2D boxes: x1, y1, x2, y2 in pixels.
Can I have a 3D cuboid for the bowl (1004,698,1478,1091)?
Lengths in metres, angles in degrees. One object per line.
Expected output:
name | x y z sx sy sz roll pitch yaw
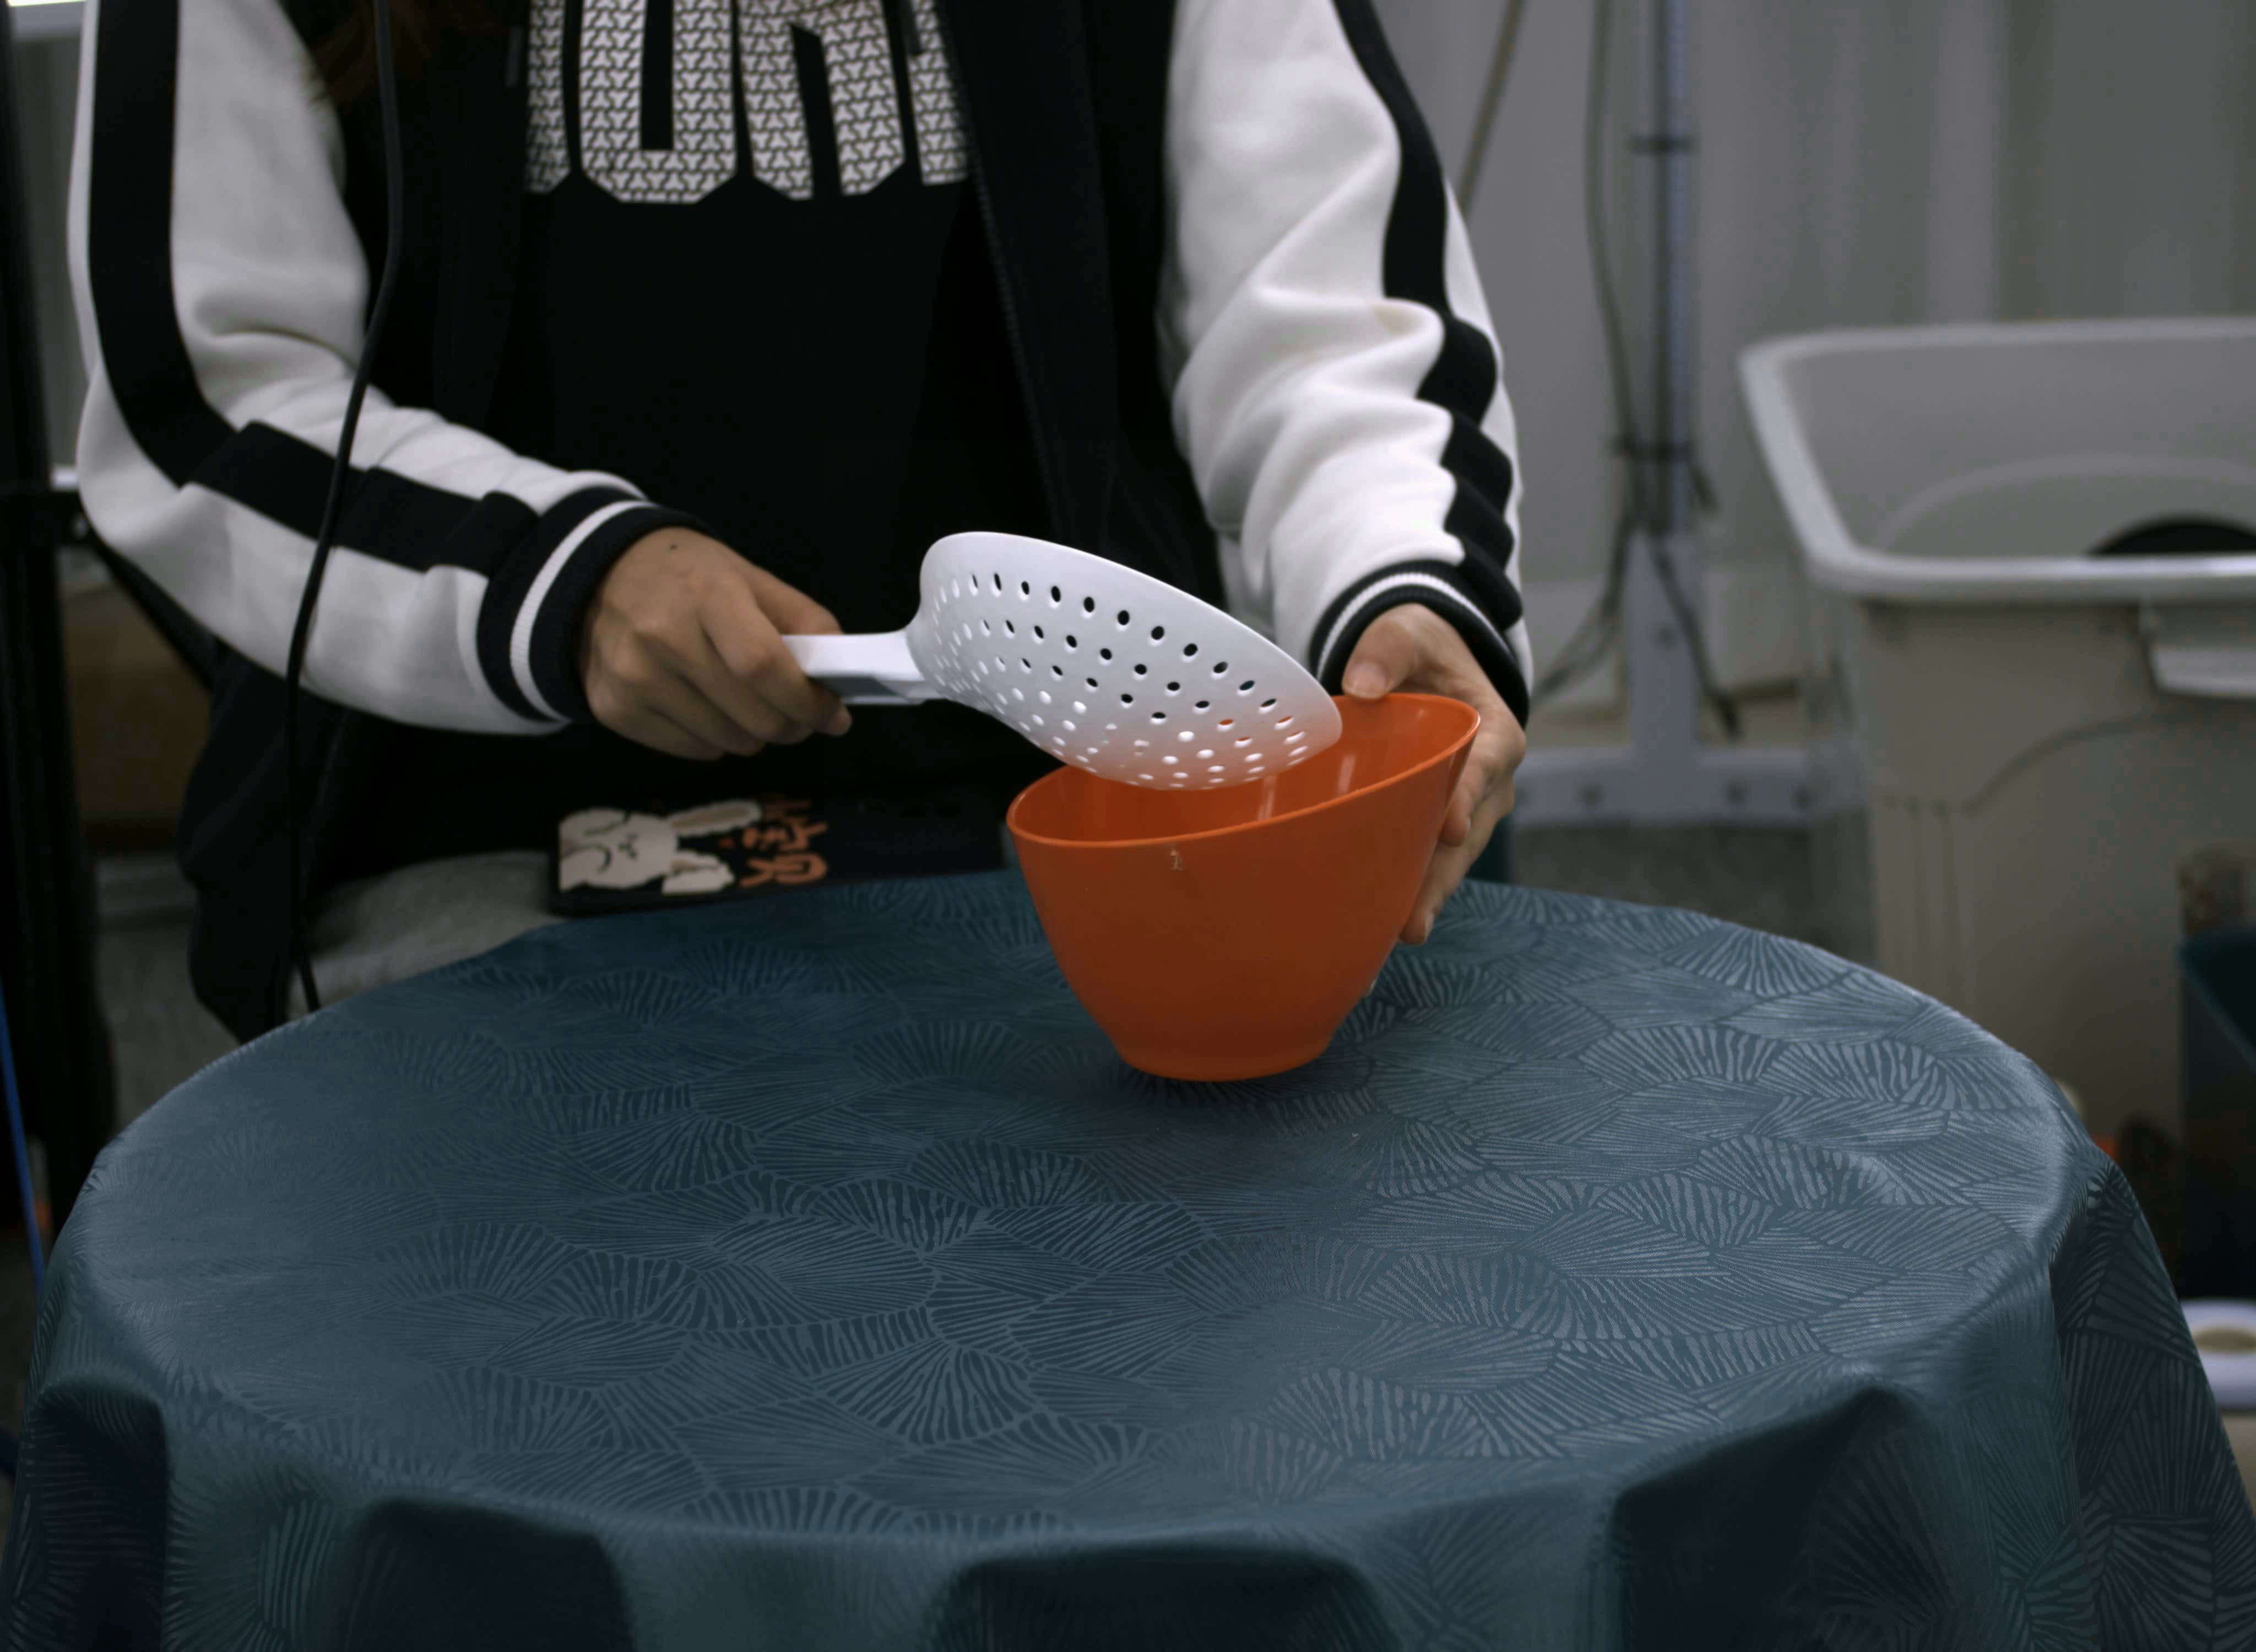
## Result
bowl | 0.037 0.023 1.637 0.147 0.104 0.149 -5 18 0

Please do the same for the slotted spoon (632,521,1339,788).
slotted spoon | -0.063 -0.051 1.699 0.133 0.046 0.357 35 -14 -29
